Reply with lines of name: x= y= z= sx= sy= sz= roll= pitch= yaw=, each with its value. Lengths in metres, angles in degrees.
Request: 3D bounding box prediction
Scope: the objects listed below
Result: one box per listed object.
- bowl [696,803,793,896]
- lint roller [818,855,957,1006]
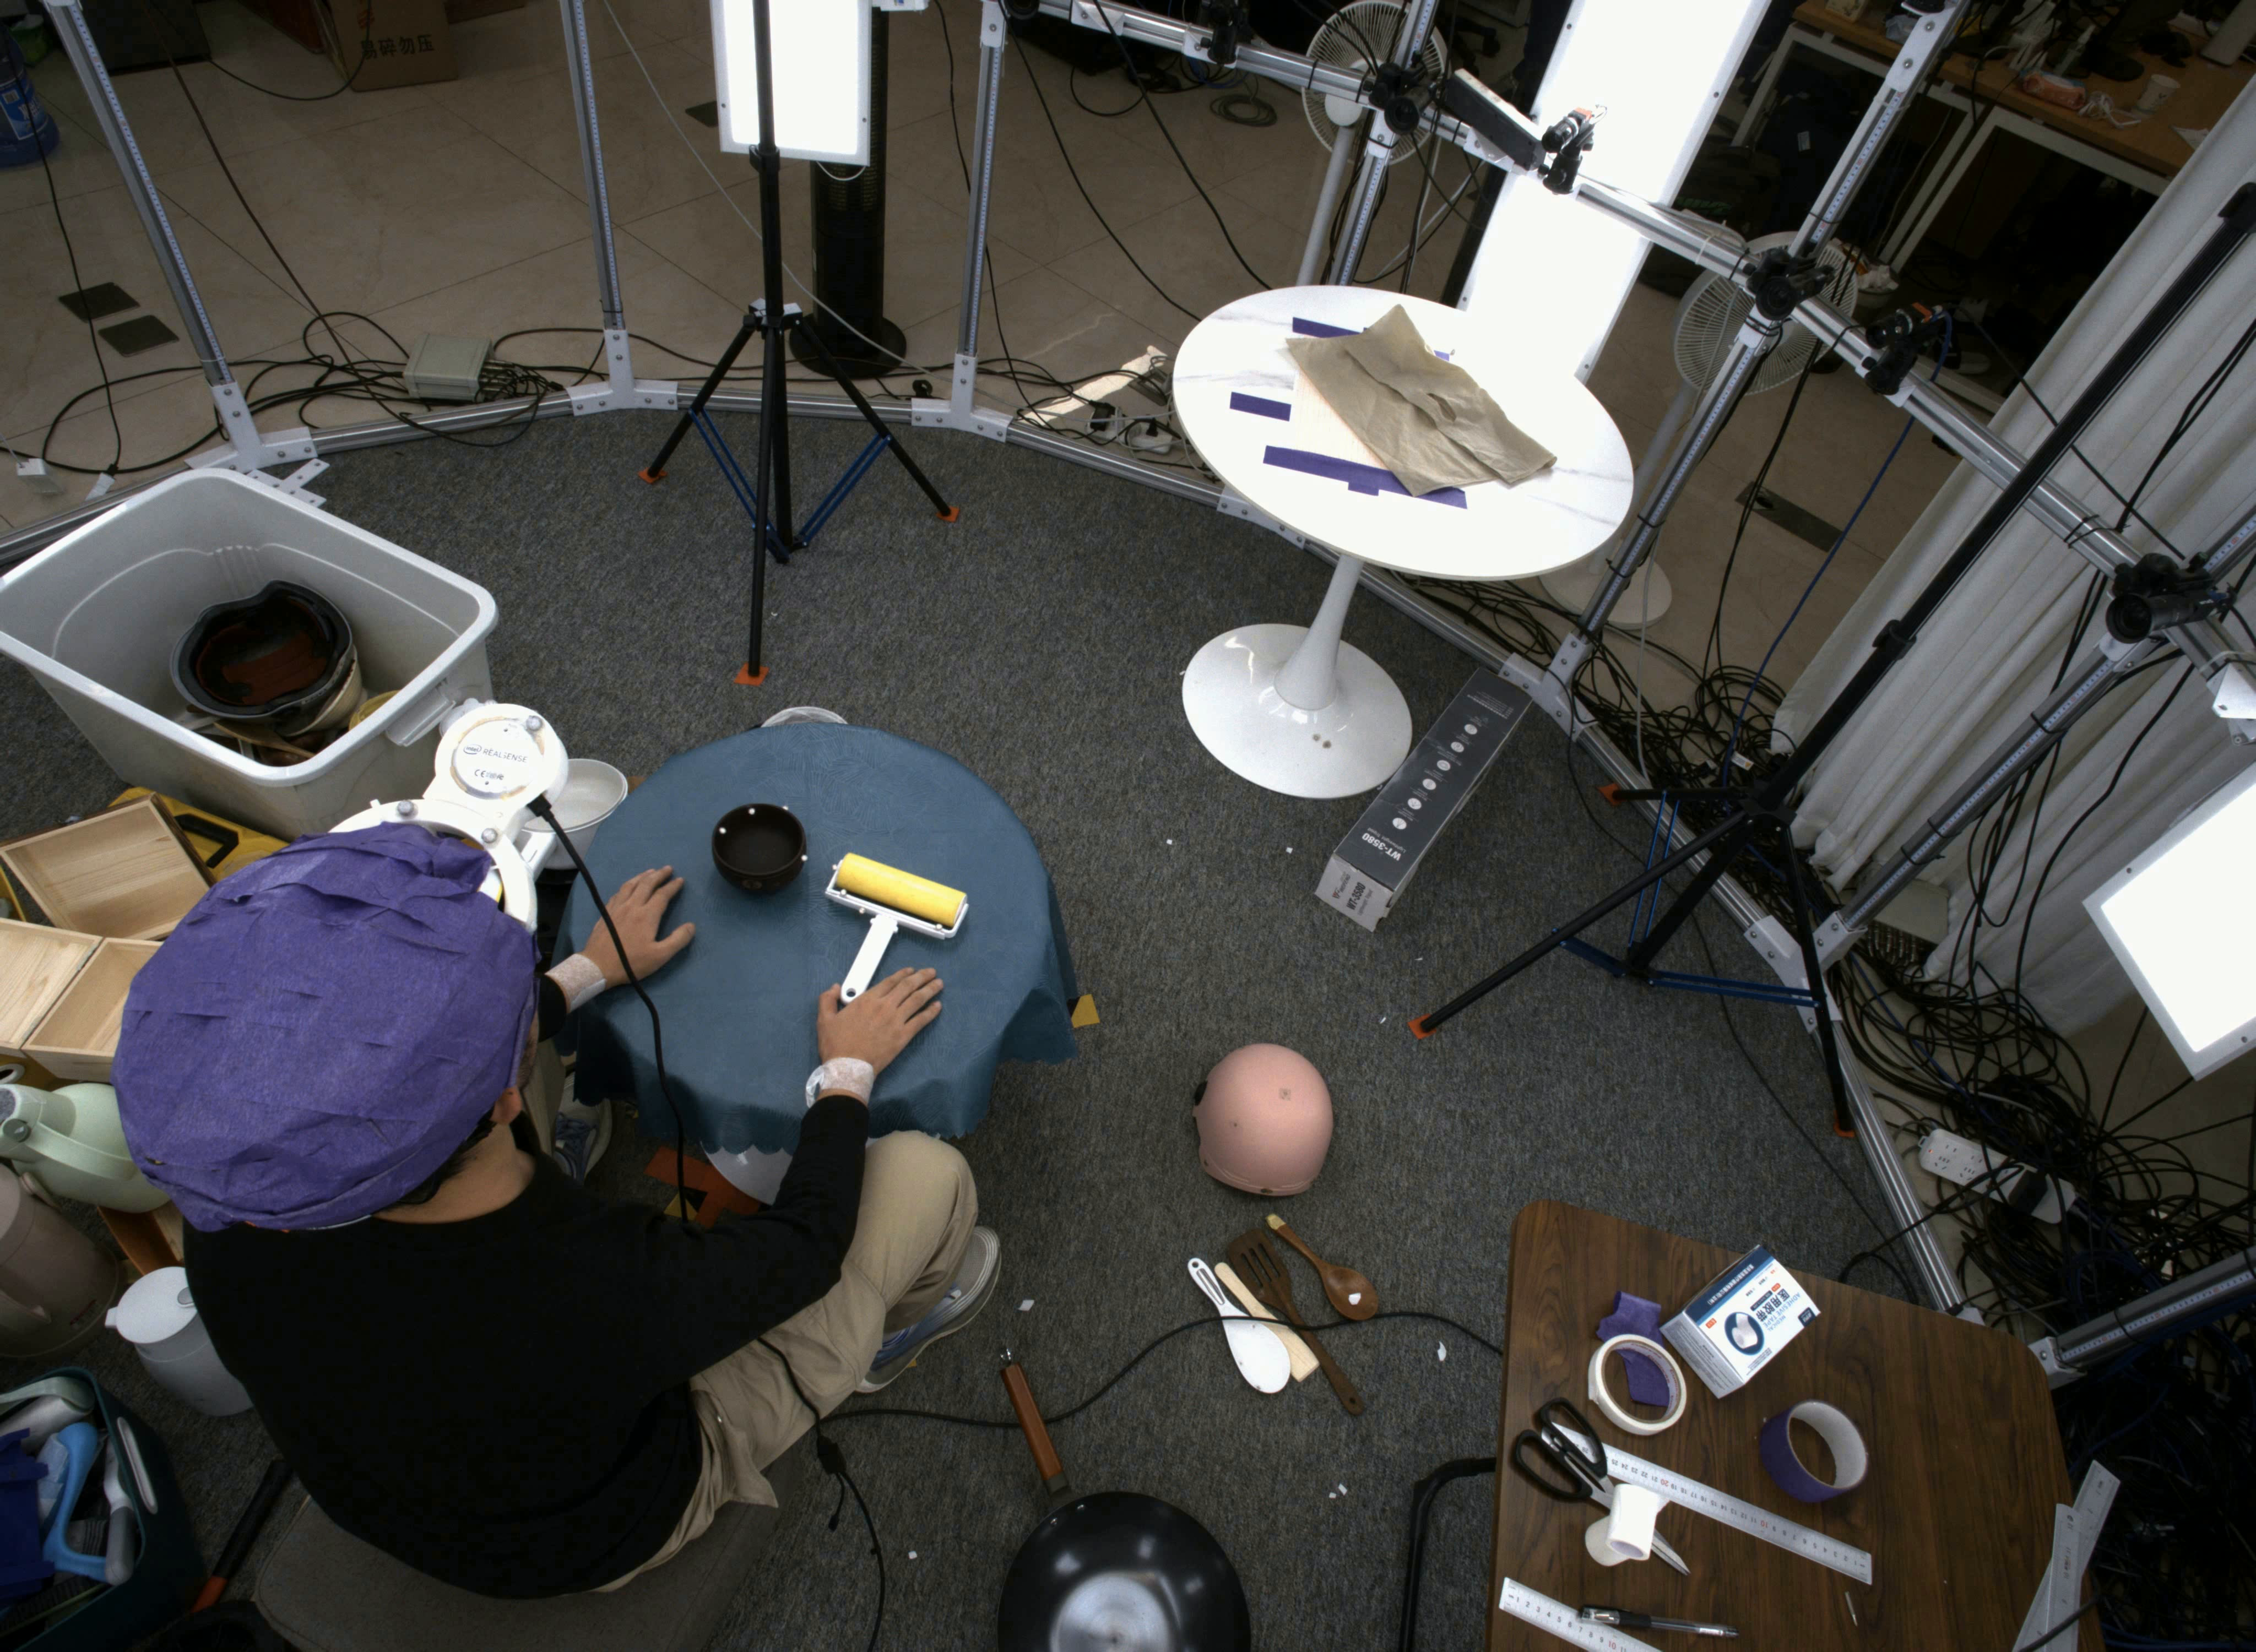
bowl: x=-0.482 y=0.036 z=1.628 sx=0.118 sy=0.071 sz=0.116 roll=8 pitch=51 yaw=-8
lint roller: x=-0.320 y=0.132 z=1.614 sx=0.173 sy=0.052 sz=0.189 roll=17 pitch=47 yaw=-1
